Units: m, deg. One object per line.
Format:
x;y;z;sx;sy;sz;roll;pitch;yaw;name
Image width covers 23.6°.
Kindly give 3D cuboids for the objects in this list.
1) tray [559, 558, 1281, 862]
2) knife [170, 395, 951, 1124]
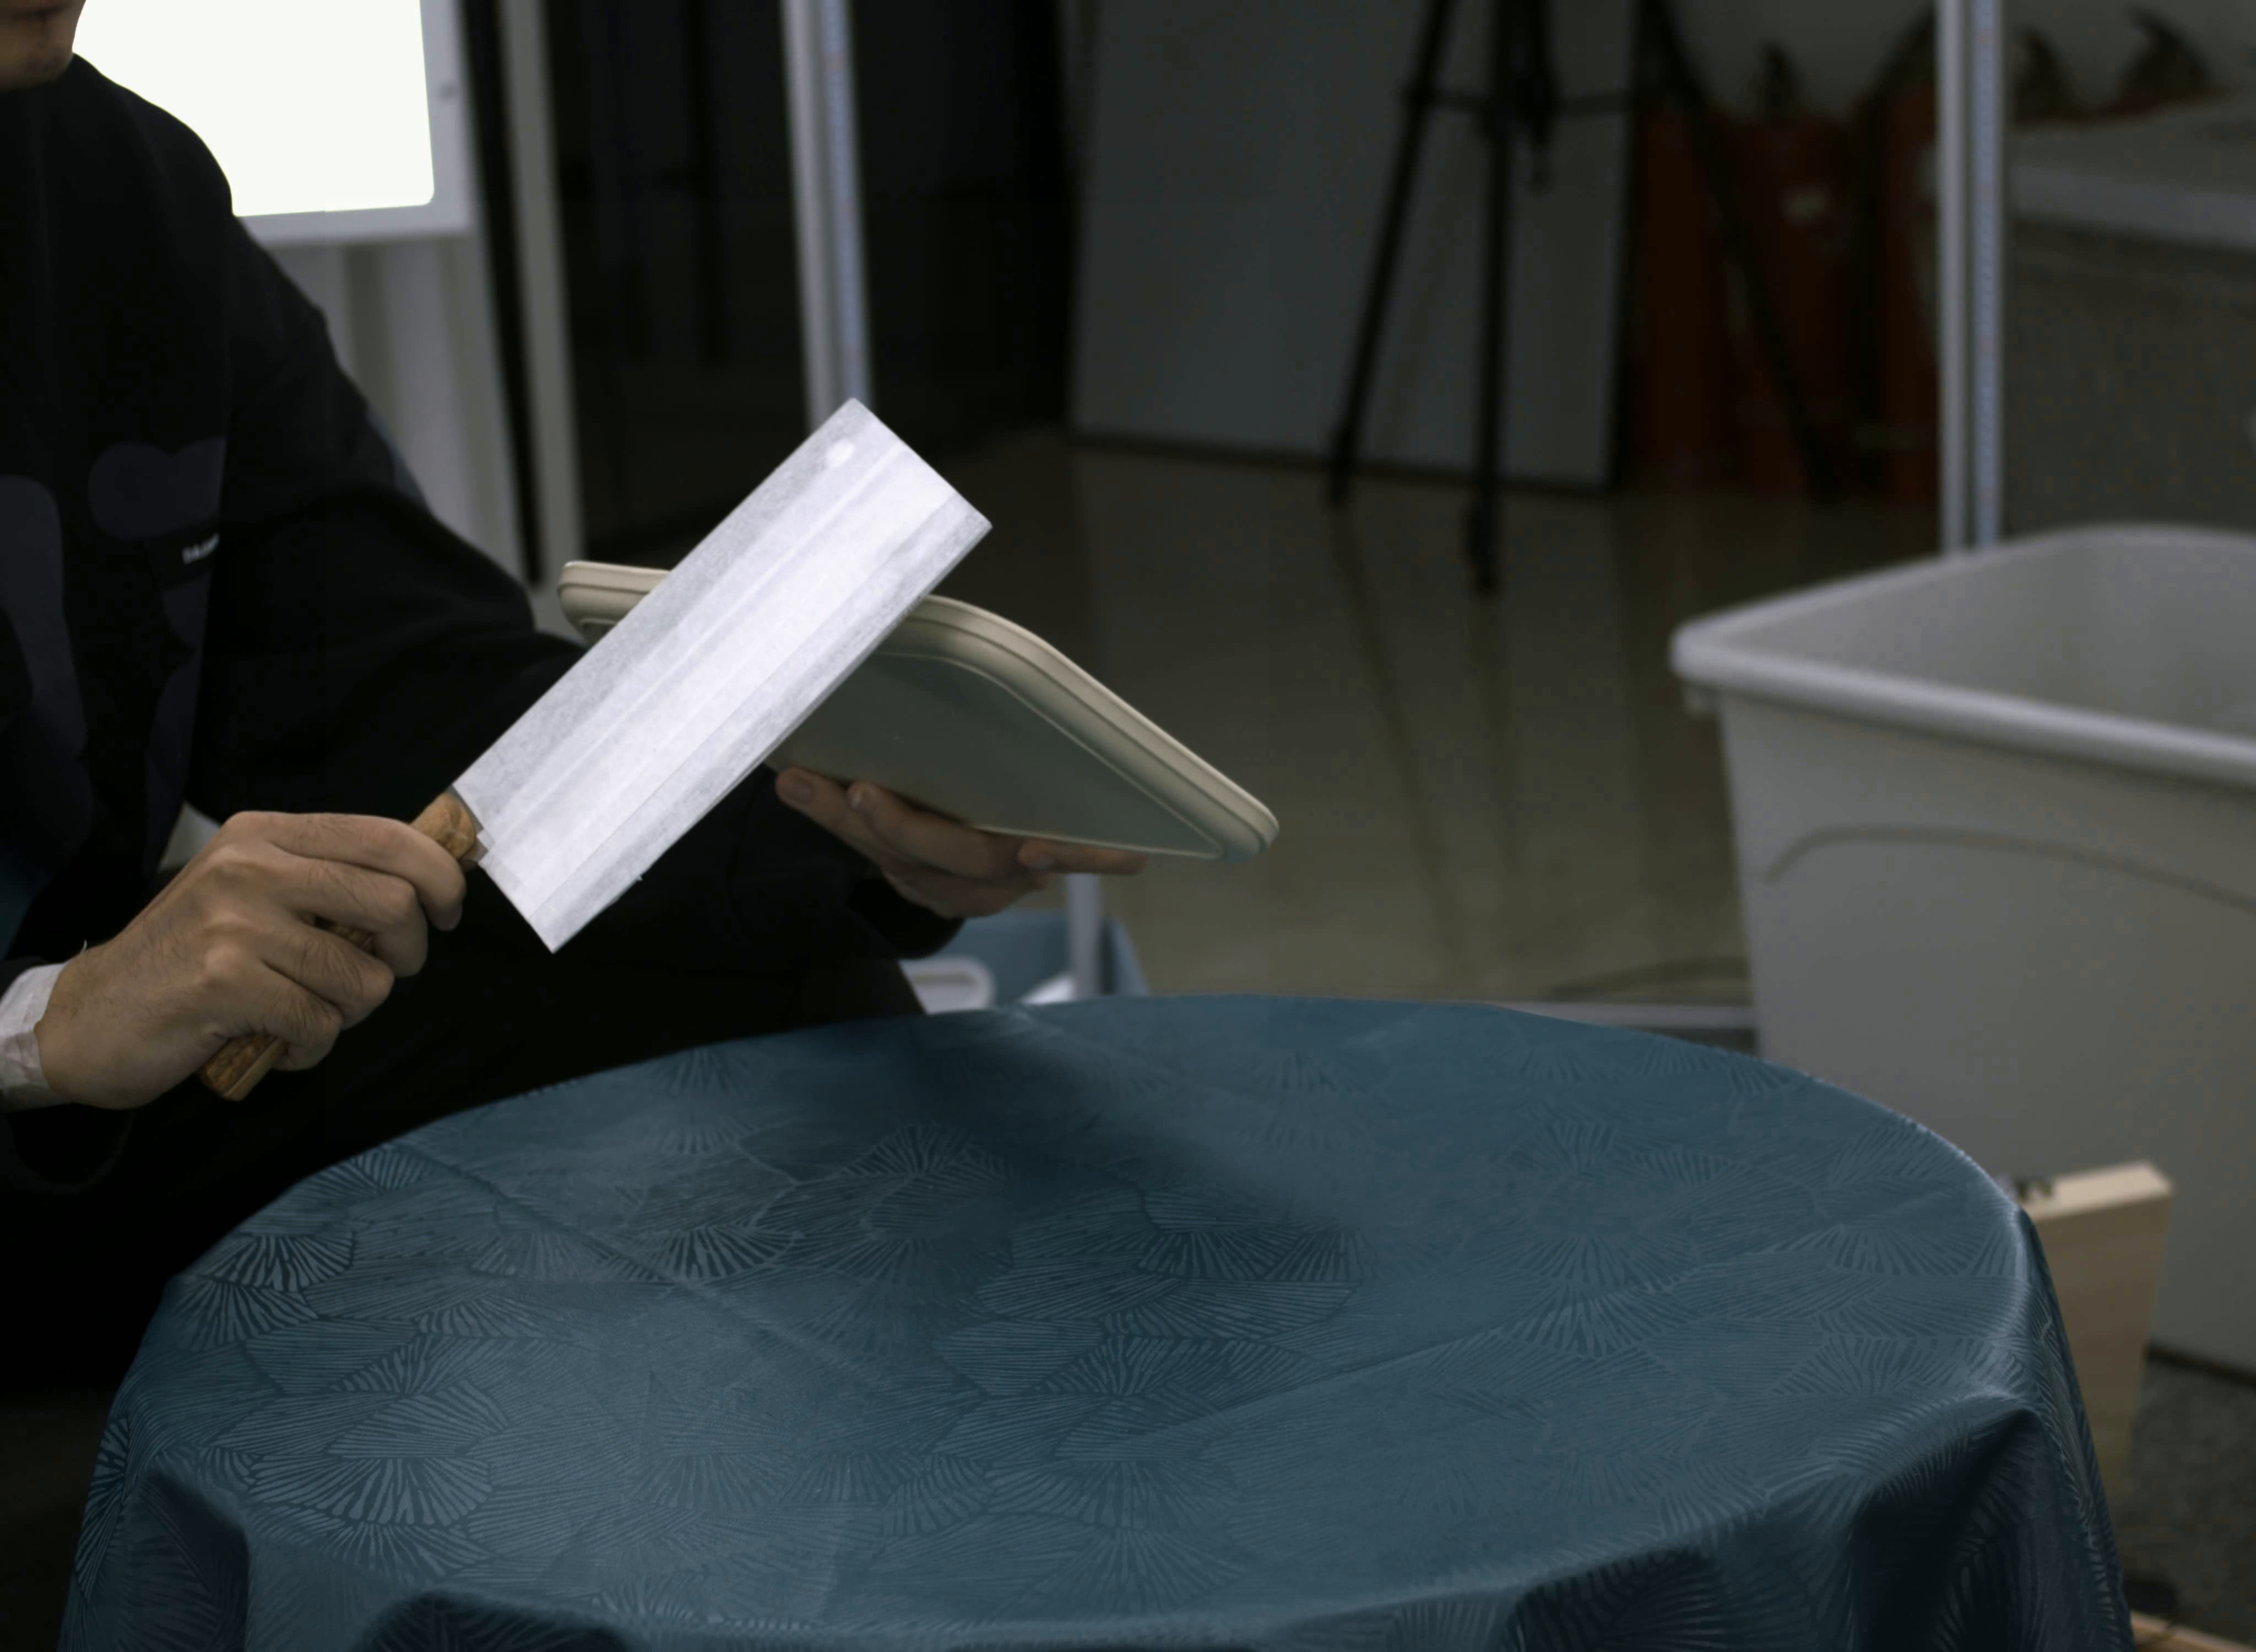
-0.073;-0.037;1.795;0.242;0.017;0.168;7;-23;48;tray
-0.172;-0.010;1.682;0.305;0.021;0.094;-45;46;-1;knife
